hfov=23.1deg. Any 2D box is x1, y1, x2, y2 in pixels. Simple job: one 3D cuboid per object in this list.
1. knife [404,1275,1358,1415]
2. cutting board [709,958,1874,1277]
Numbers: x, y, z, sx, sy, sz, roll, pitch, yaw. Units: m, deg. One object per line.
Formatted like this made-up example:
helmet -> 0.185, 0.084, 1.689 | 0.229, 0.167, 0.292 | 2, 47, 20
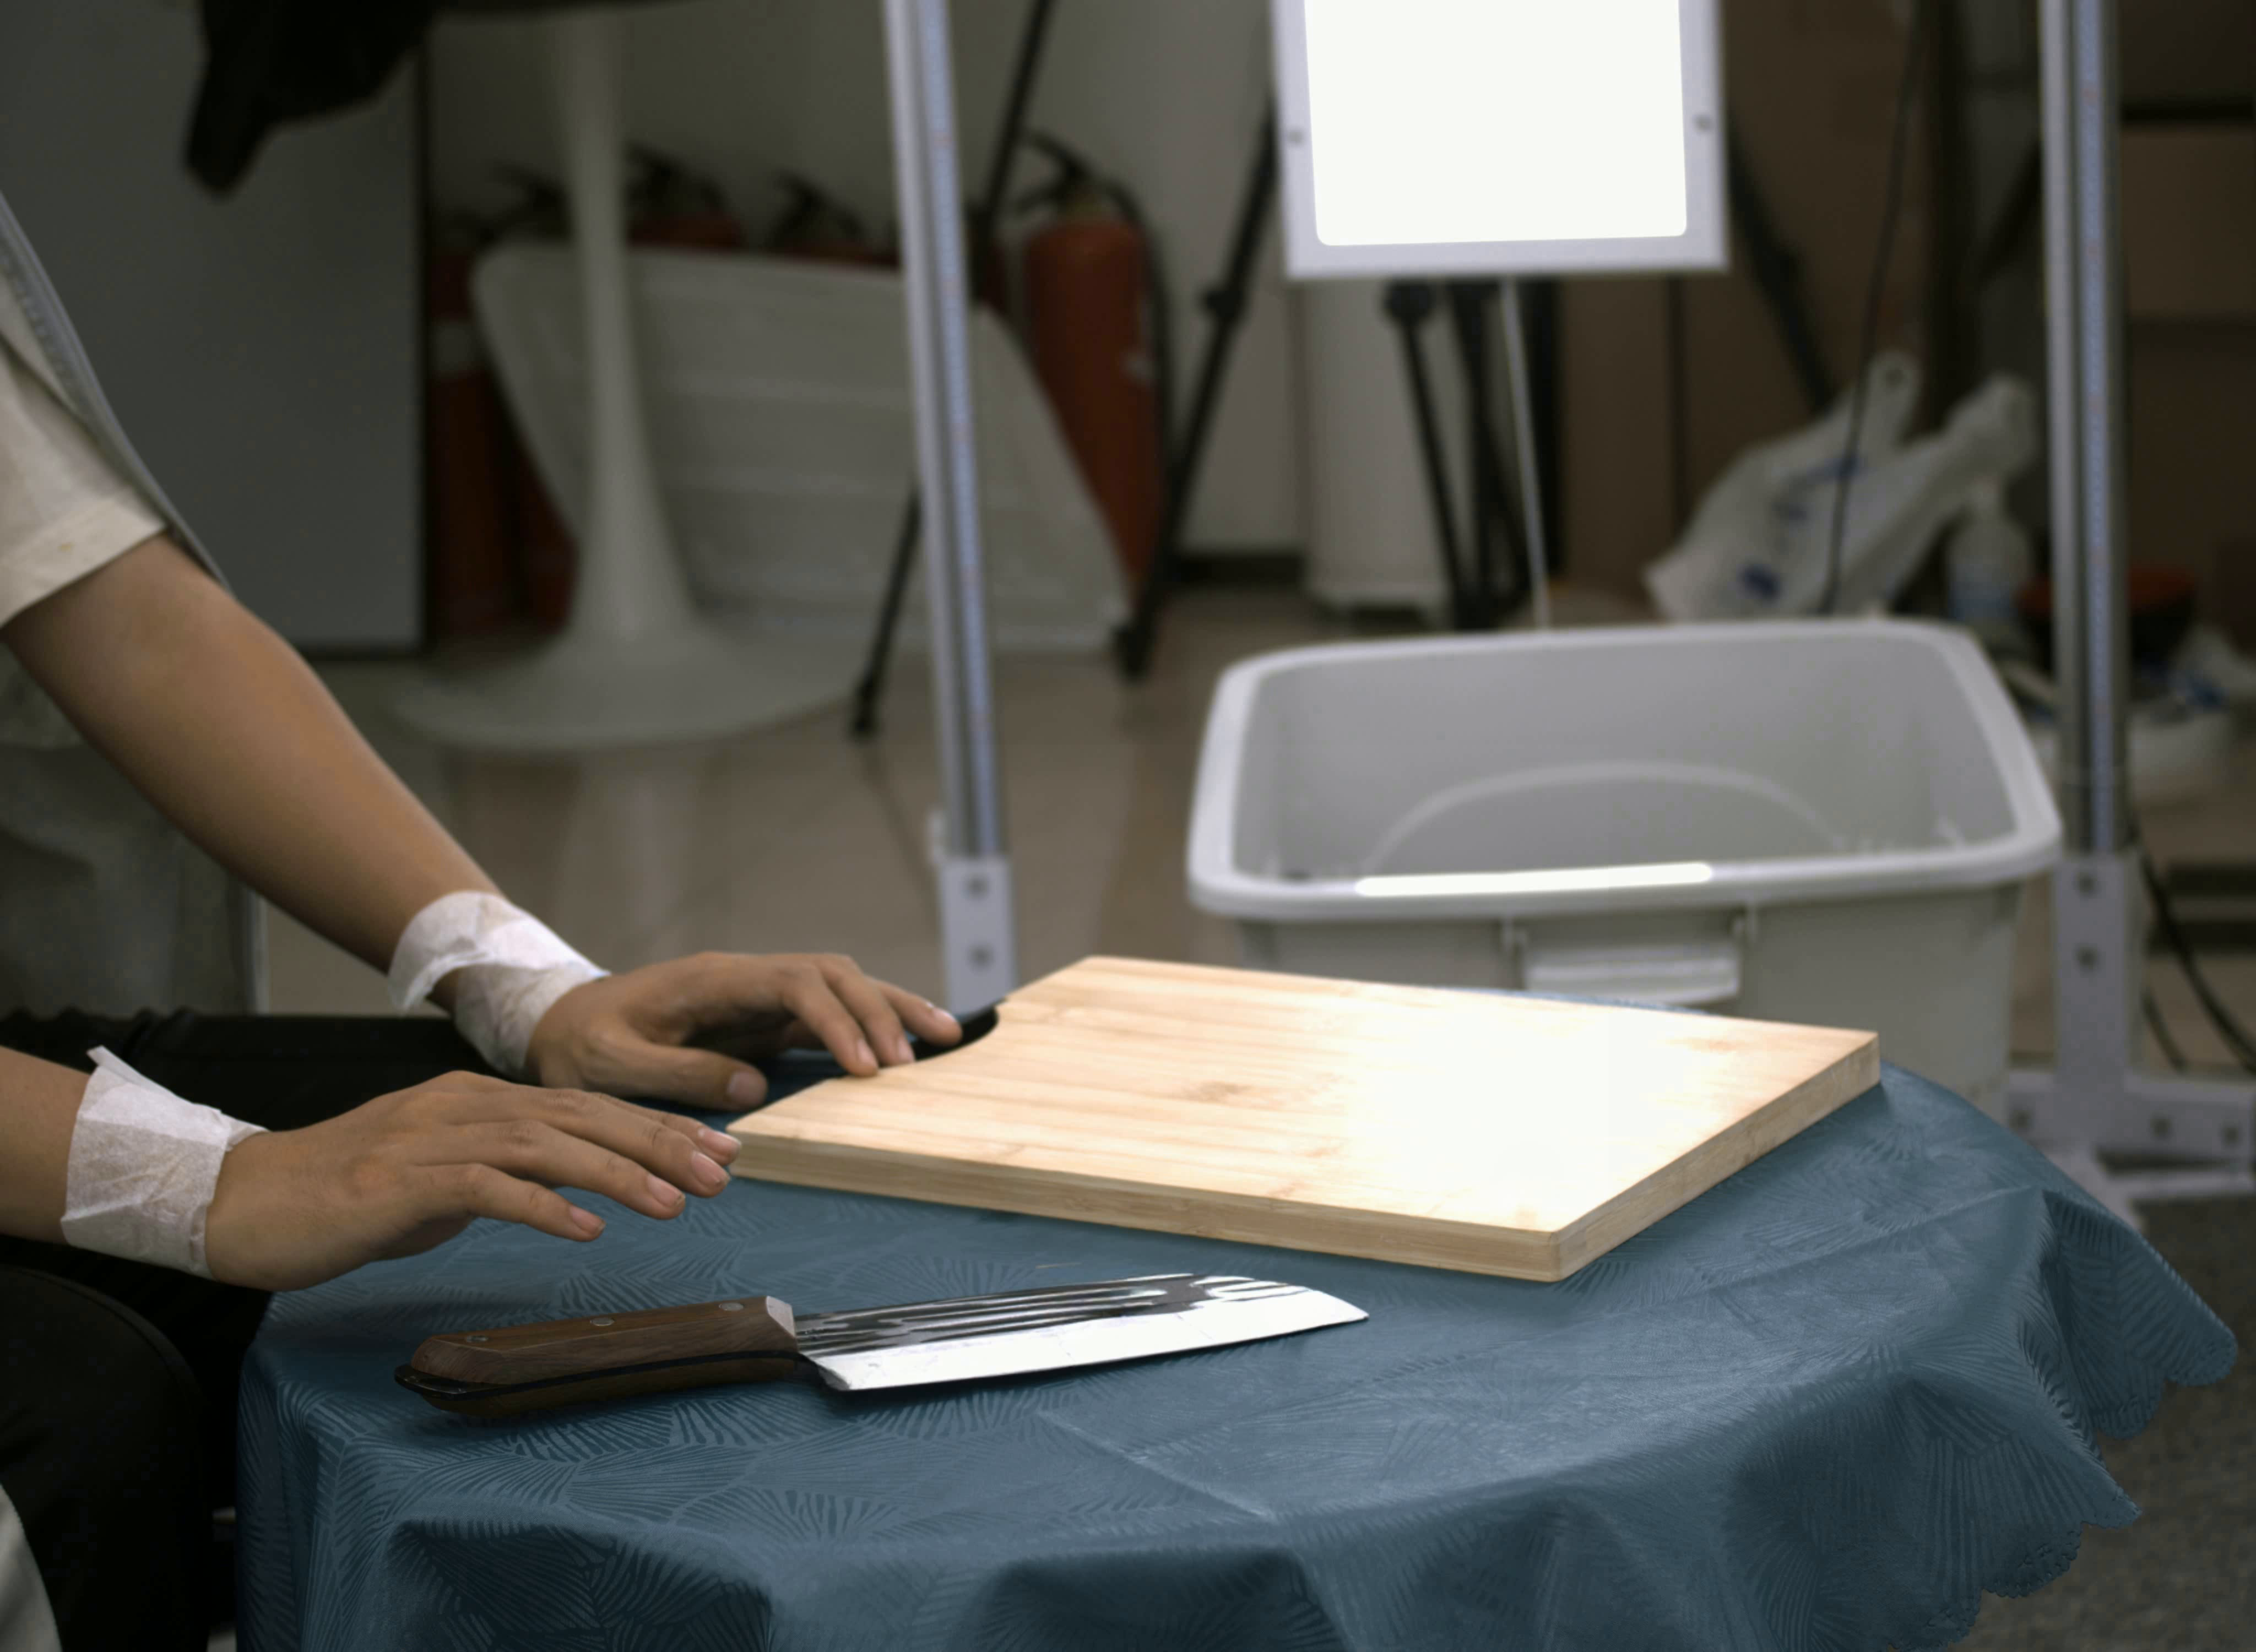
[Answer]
knife -> -0.076, 0.163, 1.735 | 0.296, 0.024, 0.068 | -5, 15, -12
cutting board -> 0.058, 0.099, 1.955 | 0.356, 0.023, 0.245 | 4, 16, 34
